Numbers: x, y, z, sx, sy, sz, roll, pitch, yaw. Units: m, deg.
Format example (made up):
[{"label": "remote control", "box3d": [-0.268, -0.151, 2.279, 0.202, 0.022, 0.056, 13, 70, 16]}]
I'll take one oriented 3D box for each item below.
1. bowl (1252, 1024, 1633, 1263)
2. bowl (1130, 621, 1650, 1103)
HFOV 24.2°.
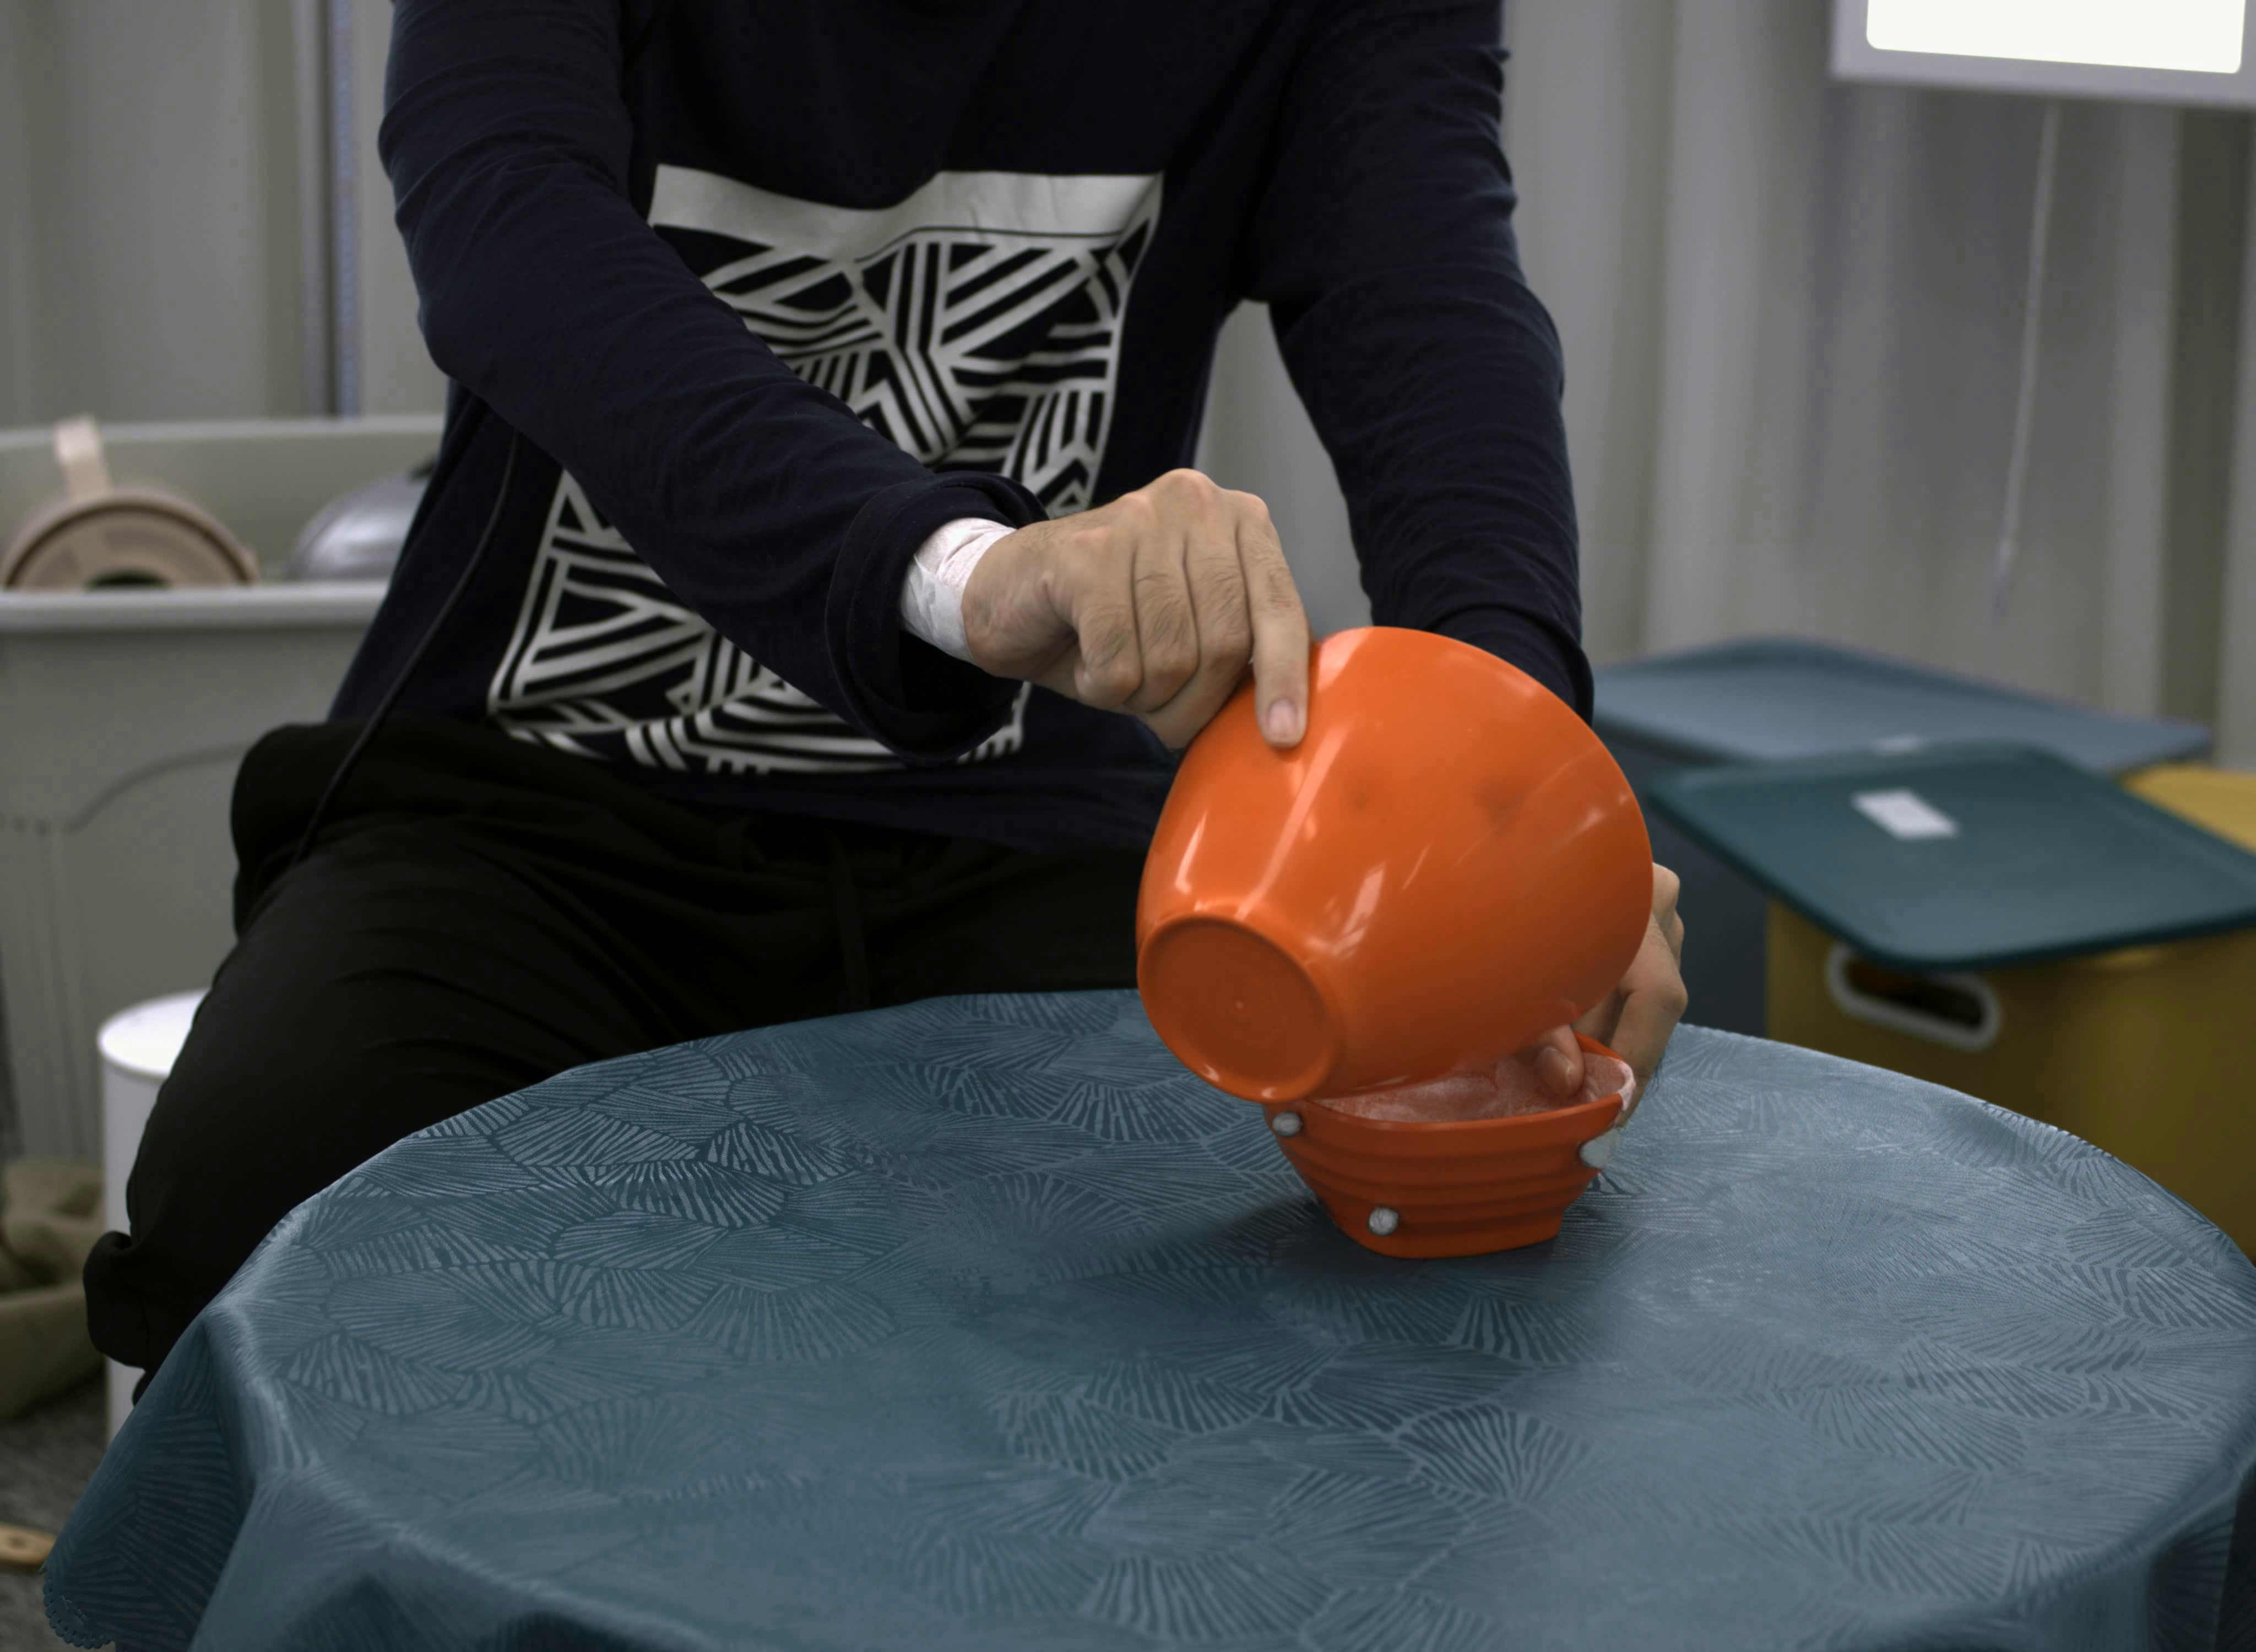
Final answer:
[{"label": "bowl", "box3d": [0.095, 0.096, 1.596, 0.118, 0.052, 0.118, -1, 15, 1]}, {"label": "bowl", "box3d": [0.064, 0.025, 1.538, 0.146, 0.150, 0.104, 10, 37, 29]}]
